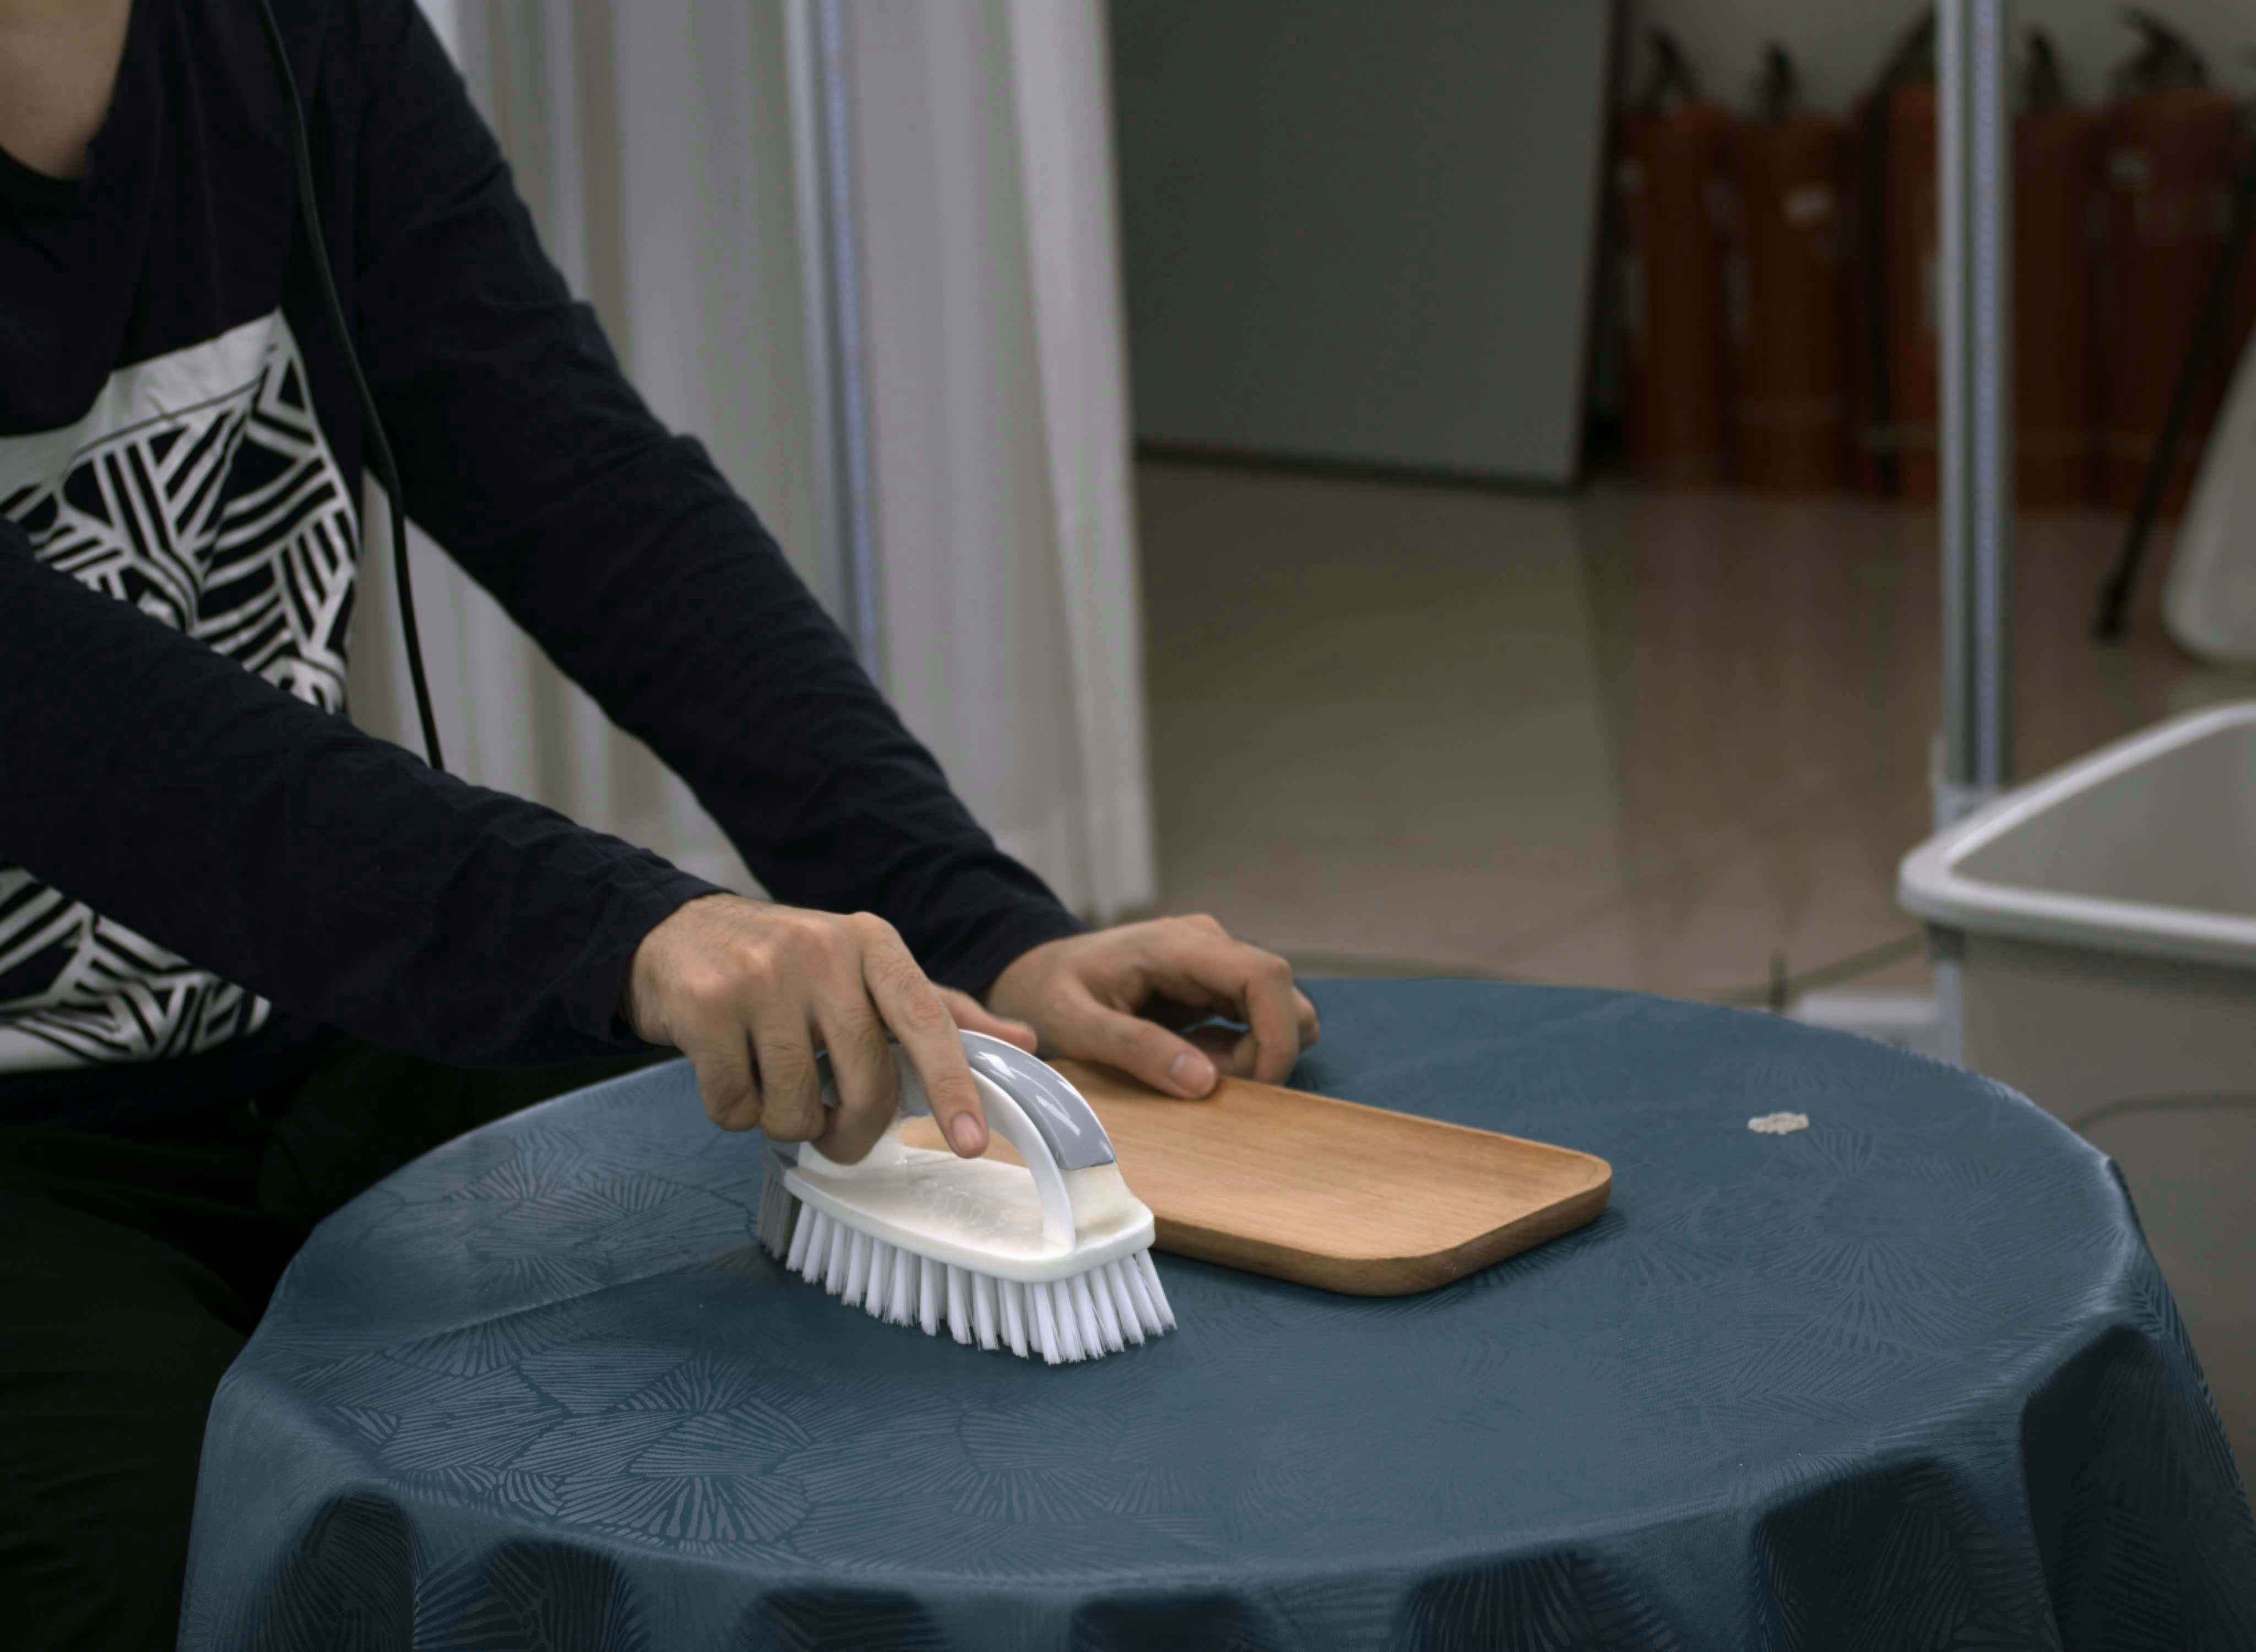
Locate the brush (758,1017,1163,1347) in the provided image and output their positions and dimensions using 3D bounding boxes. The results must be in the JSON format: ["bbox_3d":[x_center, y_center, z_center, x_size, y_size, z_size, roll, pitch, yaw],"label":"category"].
[{"bbox_3d":[-0.064,0.105,1.670,0.060,0.095,0.177,-14,14,-38],"label":"brush"}]

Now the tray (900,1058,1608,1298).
[{"bbox_3d":[0.033,0.113,1.765,0.128,0.023,0.253,-14,15,-42],"label":"tray"}]
